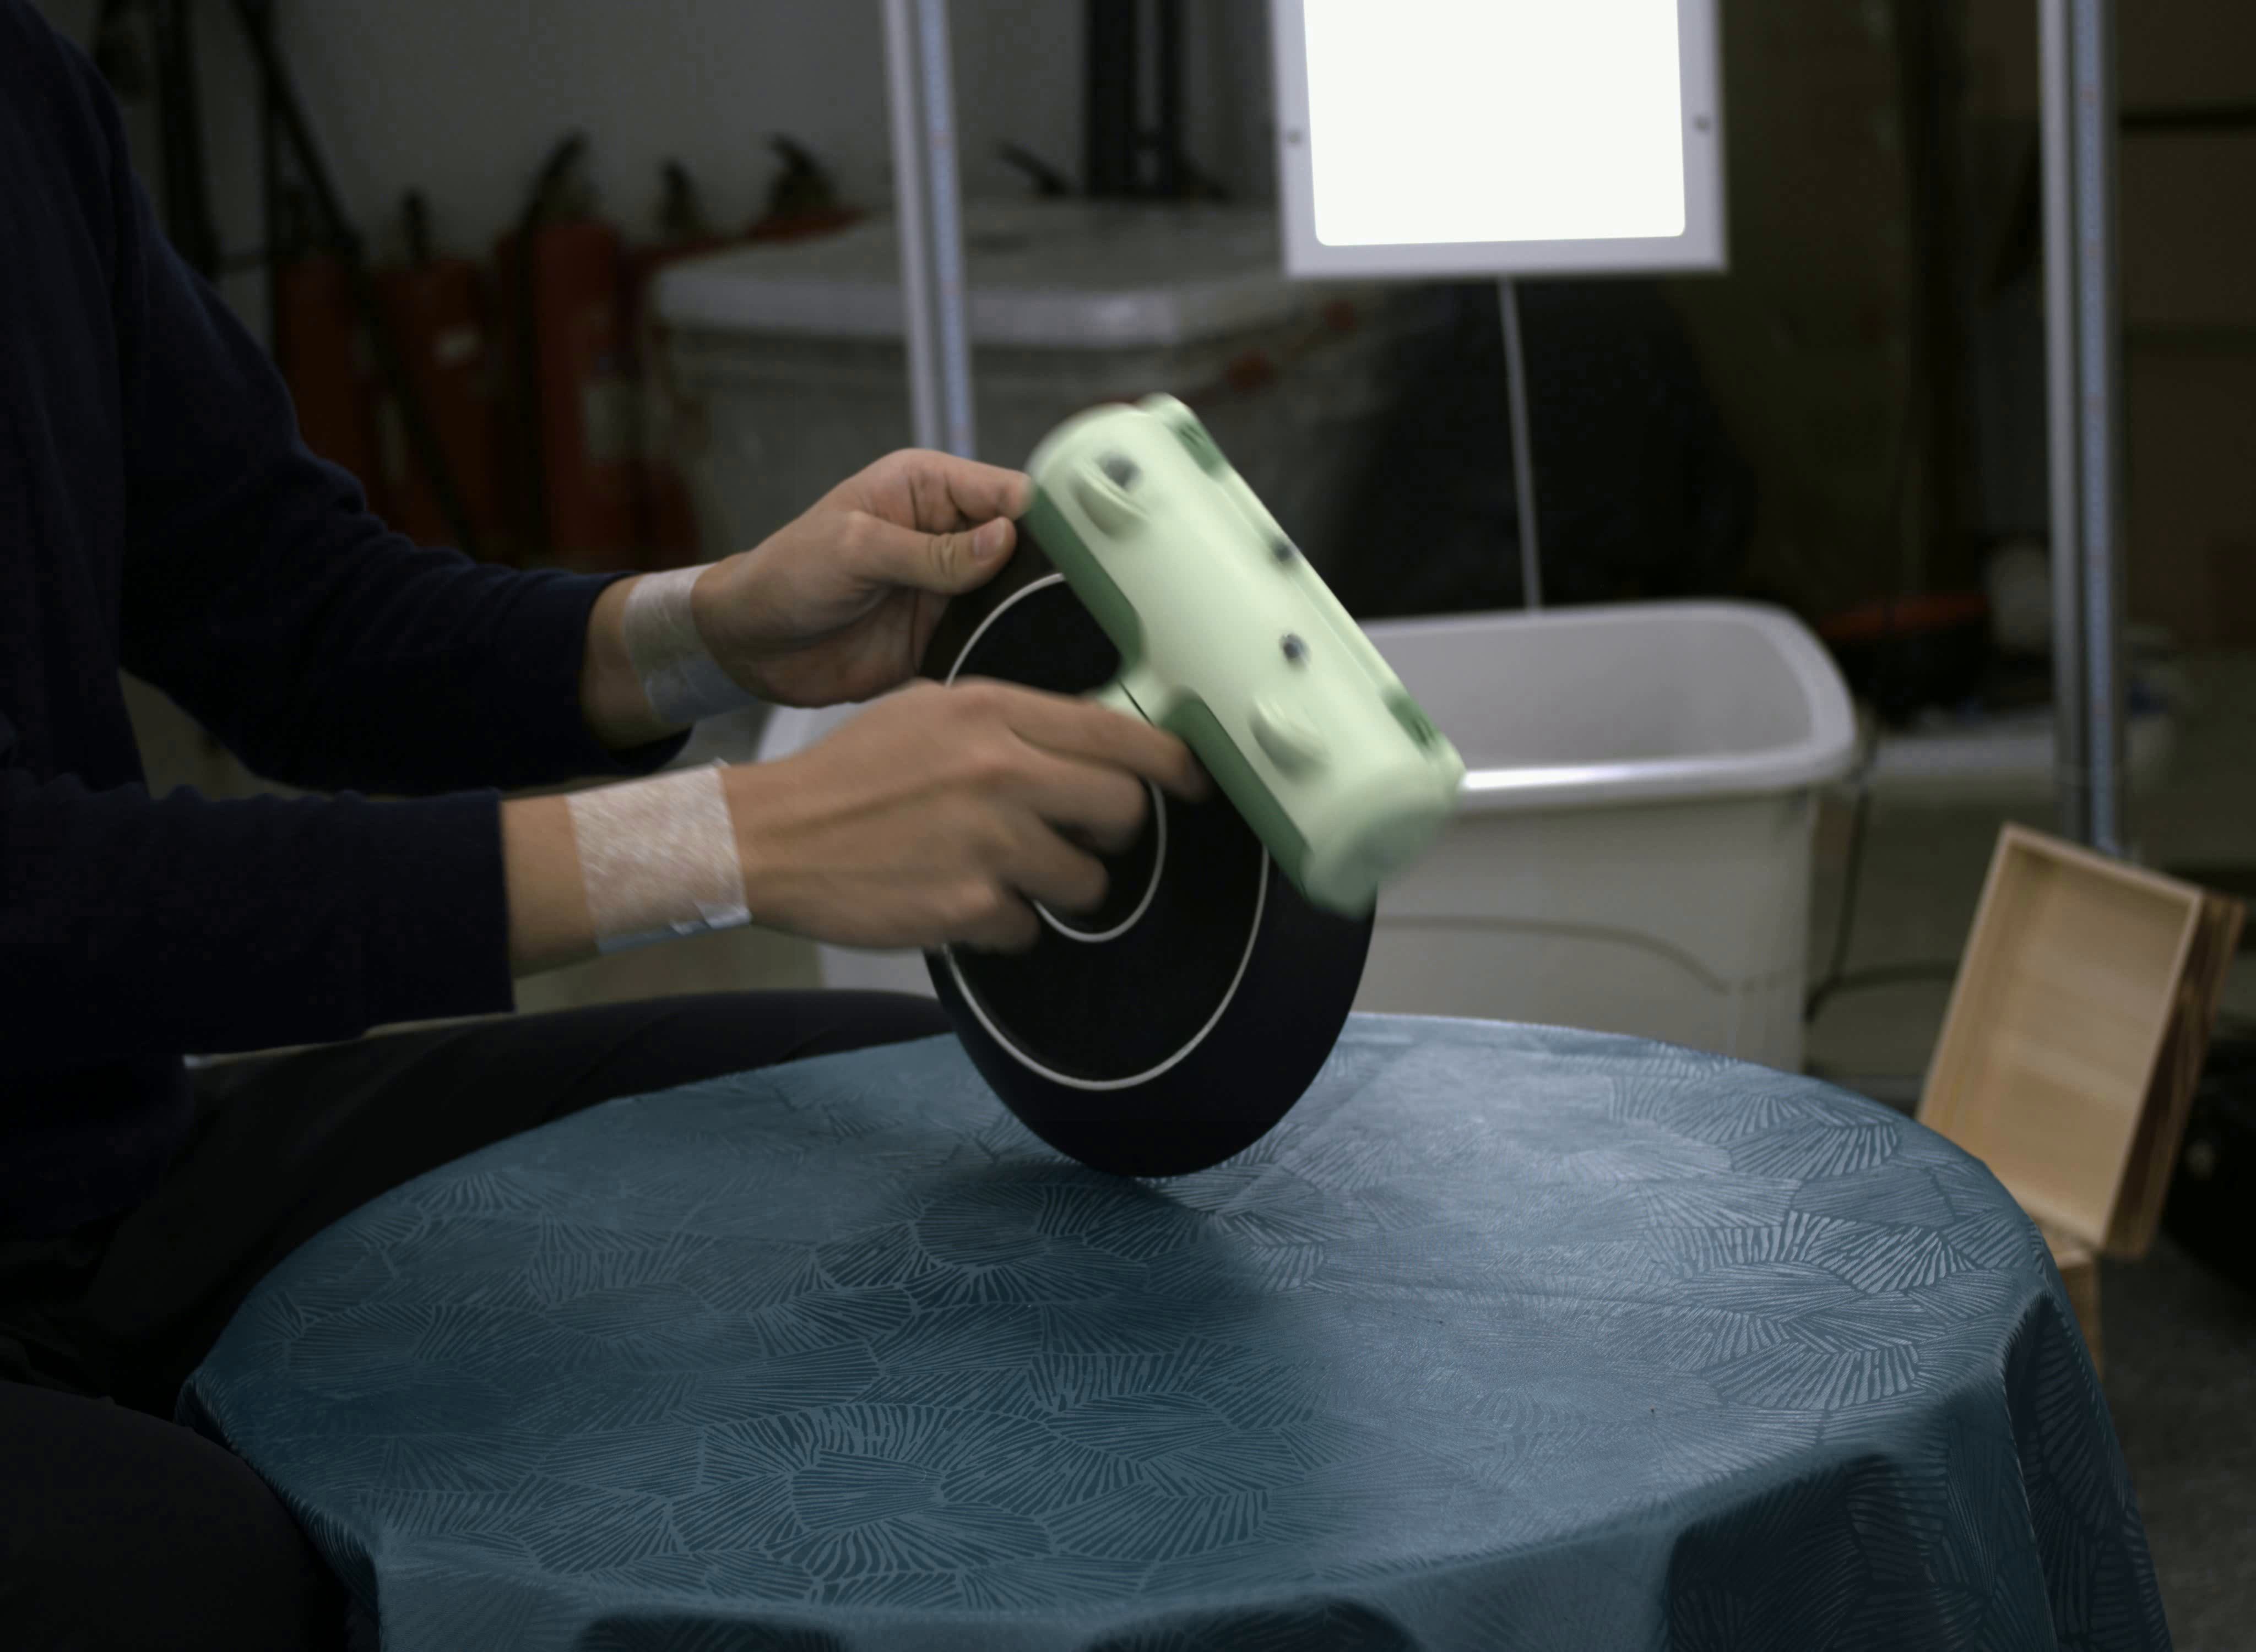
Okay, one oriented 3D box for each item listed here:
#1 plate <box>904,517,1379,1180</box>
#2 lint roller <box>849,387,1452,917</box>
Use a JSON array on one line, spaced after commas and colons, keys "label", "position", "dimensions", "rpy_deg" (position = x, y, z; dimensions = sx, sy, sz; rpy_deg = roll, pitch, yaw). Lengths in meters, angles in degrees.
[{"label": "plate", "position": [-0.006, 0.001, 1.897], "dimensions": [0.023, 0.245, 0.249], "rpy_deg": [-3, 10, -41]}, {"label": "lint roller", "position": [-0.019, -0.038, 1.798], "dimensions": [0.182, 0.082, 0.201], "rpy_deg": [-32, 57, -8]}]
